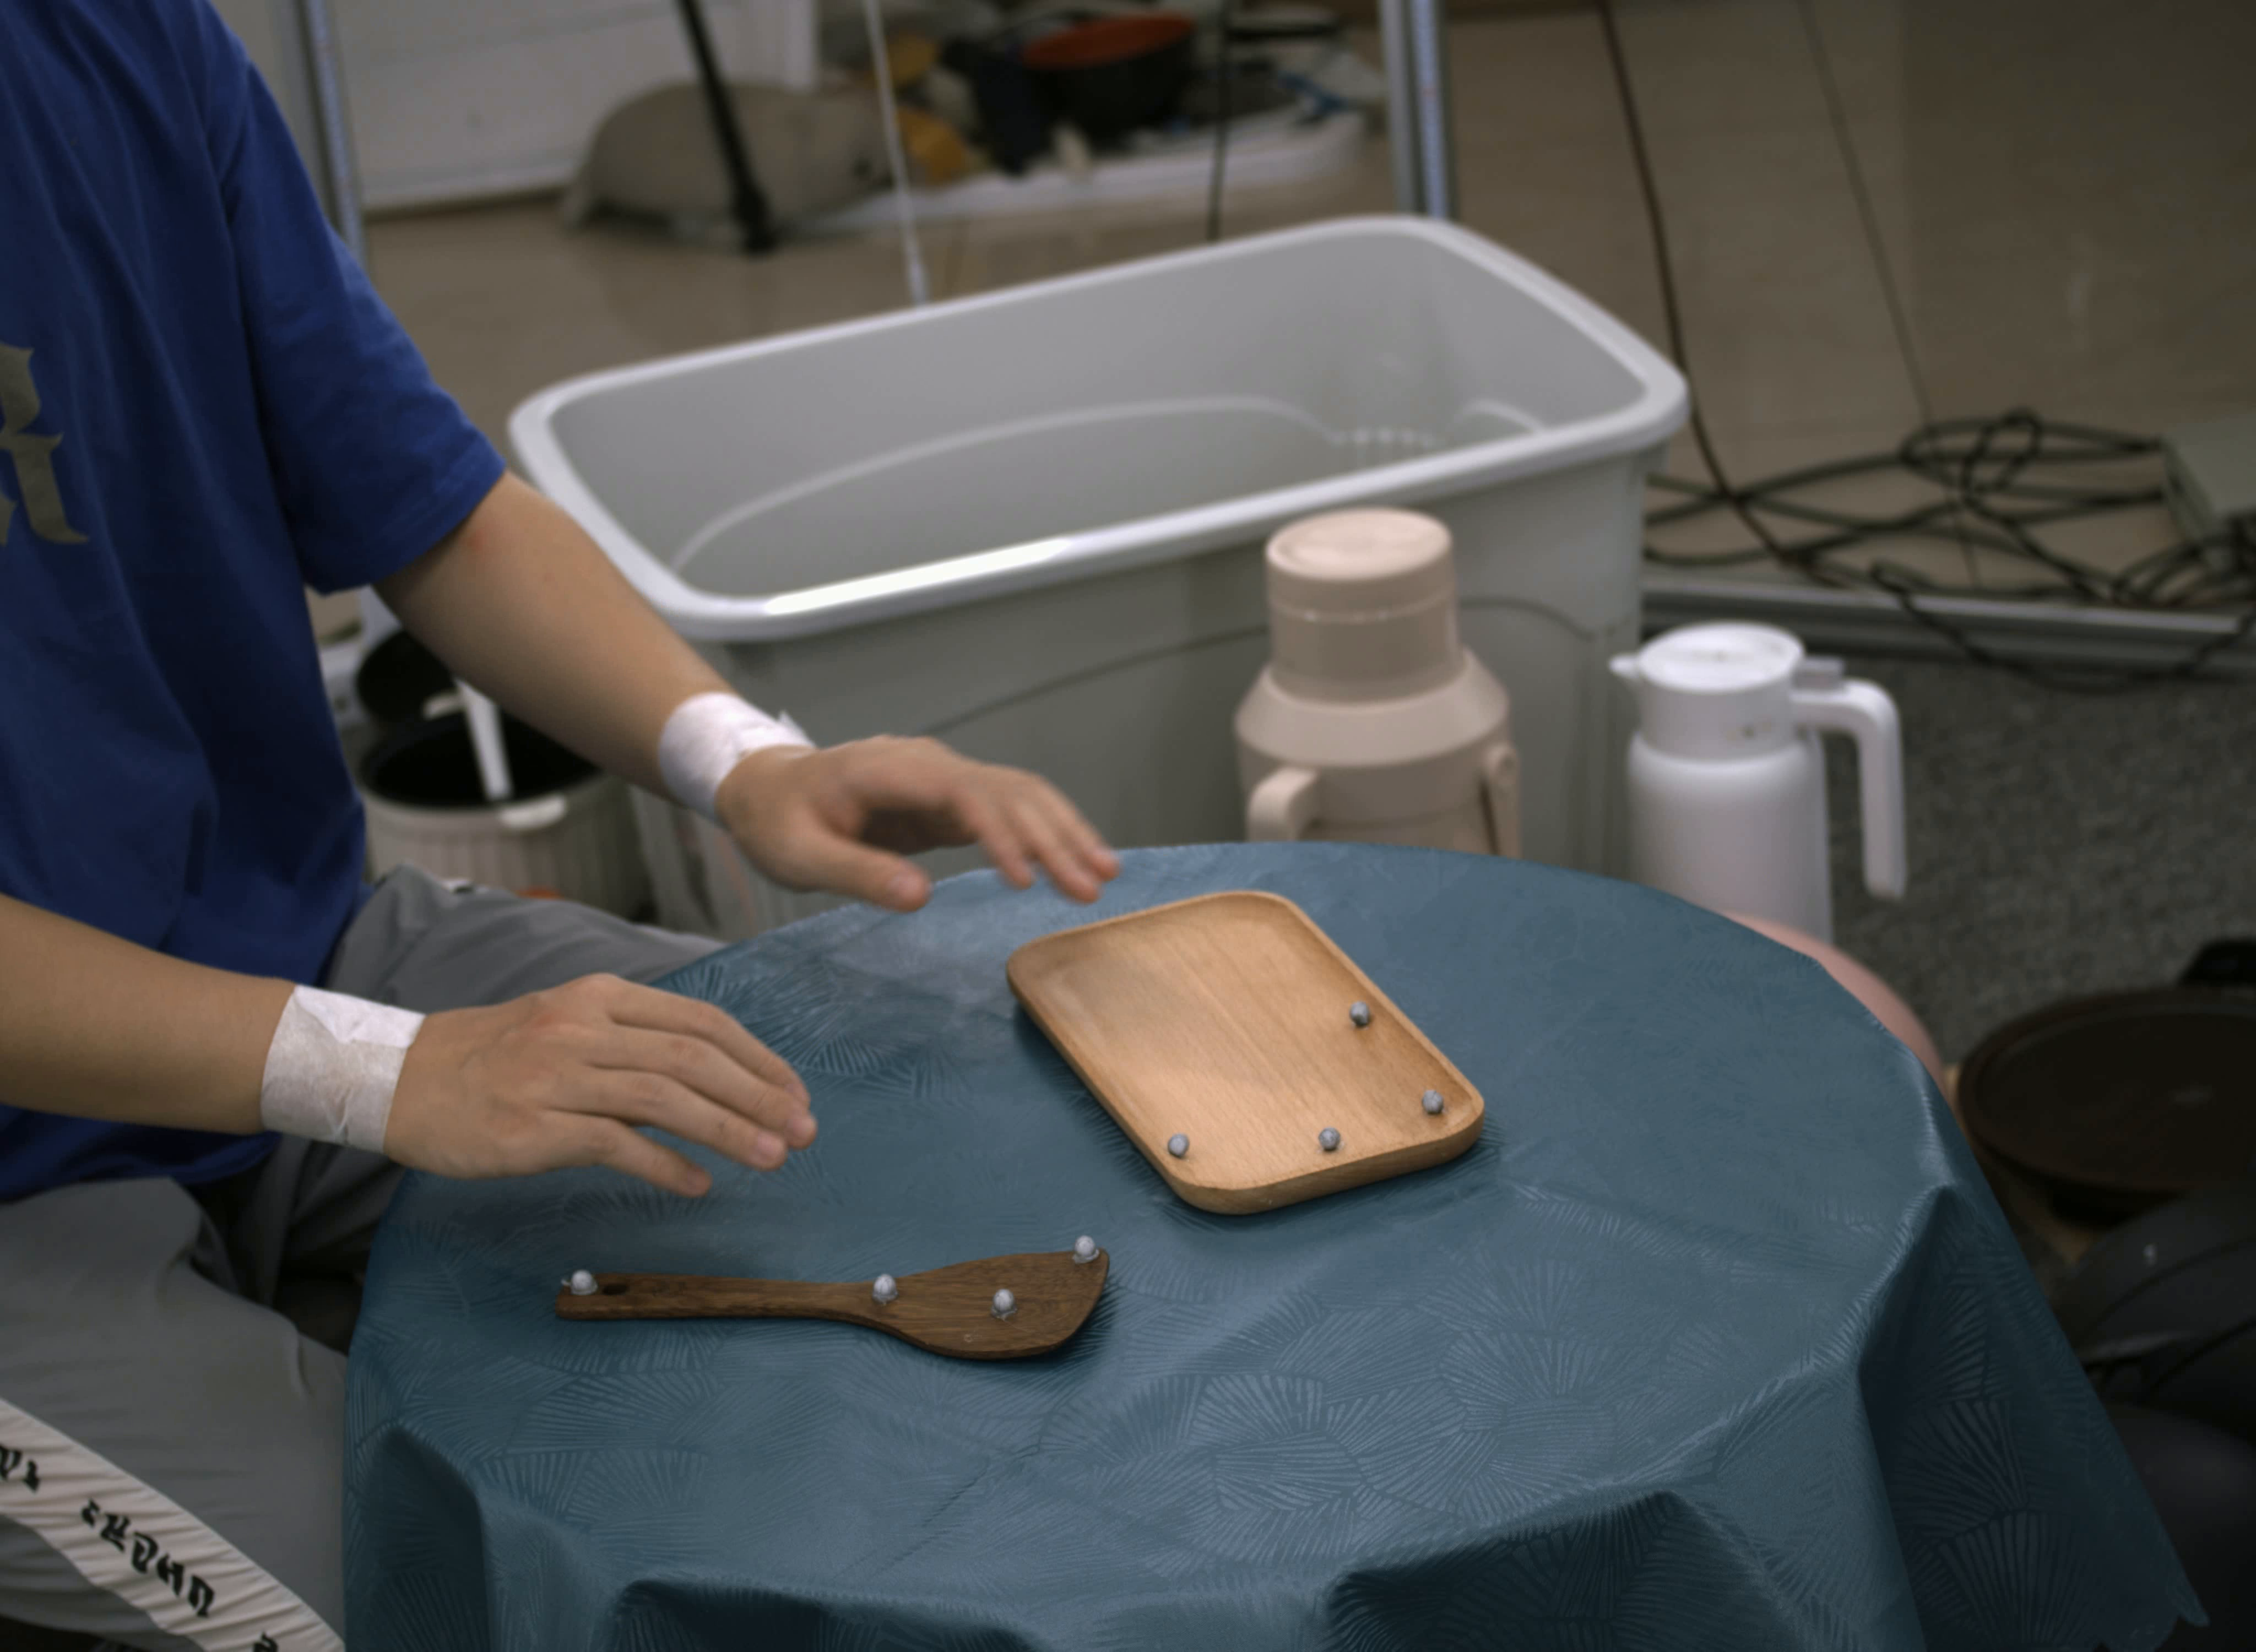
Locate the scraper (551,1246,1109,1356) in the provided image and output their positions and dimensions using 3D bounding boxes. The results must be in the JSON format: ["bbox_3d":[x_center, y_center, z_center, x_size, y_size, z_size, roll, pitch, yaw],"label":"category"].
[{"bbox_3d":[-0.112,0.174,2.089,0.211,0.011,0.075,0,25,16],"label":"scraper"}]

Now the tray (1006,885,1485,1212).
[{"bbox_3d":[0.043,0.085,2.231,0.130,0.023,0.247,-11,24,-15],"label":"tray"}]
